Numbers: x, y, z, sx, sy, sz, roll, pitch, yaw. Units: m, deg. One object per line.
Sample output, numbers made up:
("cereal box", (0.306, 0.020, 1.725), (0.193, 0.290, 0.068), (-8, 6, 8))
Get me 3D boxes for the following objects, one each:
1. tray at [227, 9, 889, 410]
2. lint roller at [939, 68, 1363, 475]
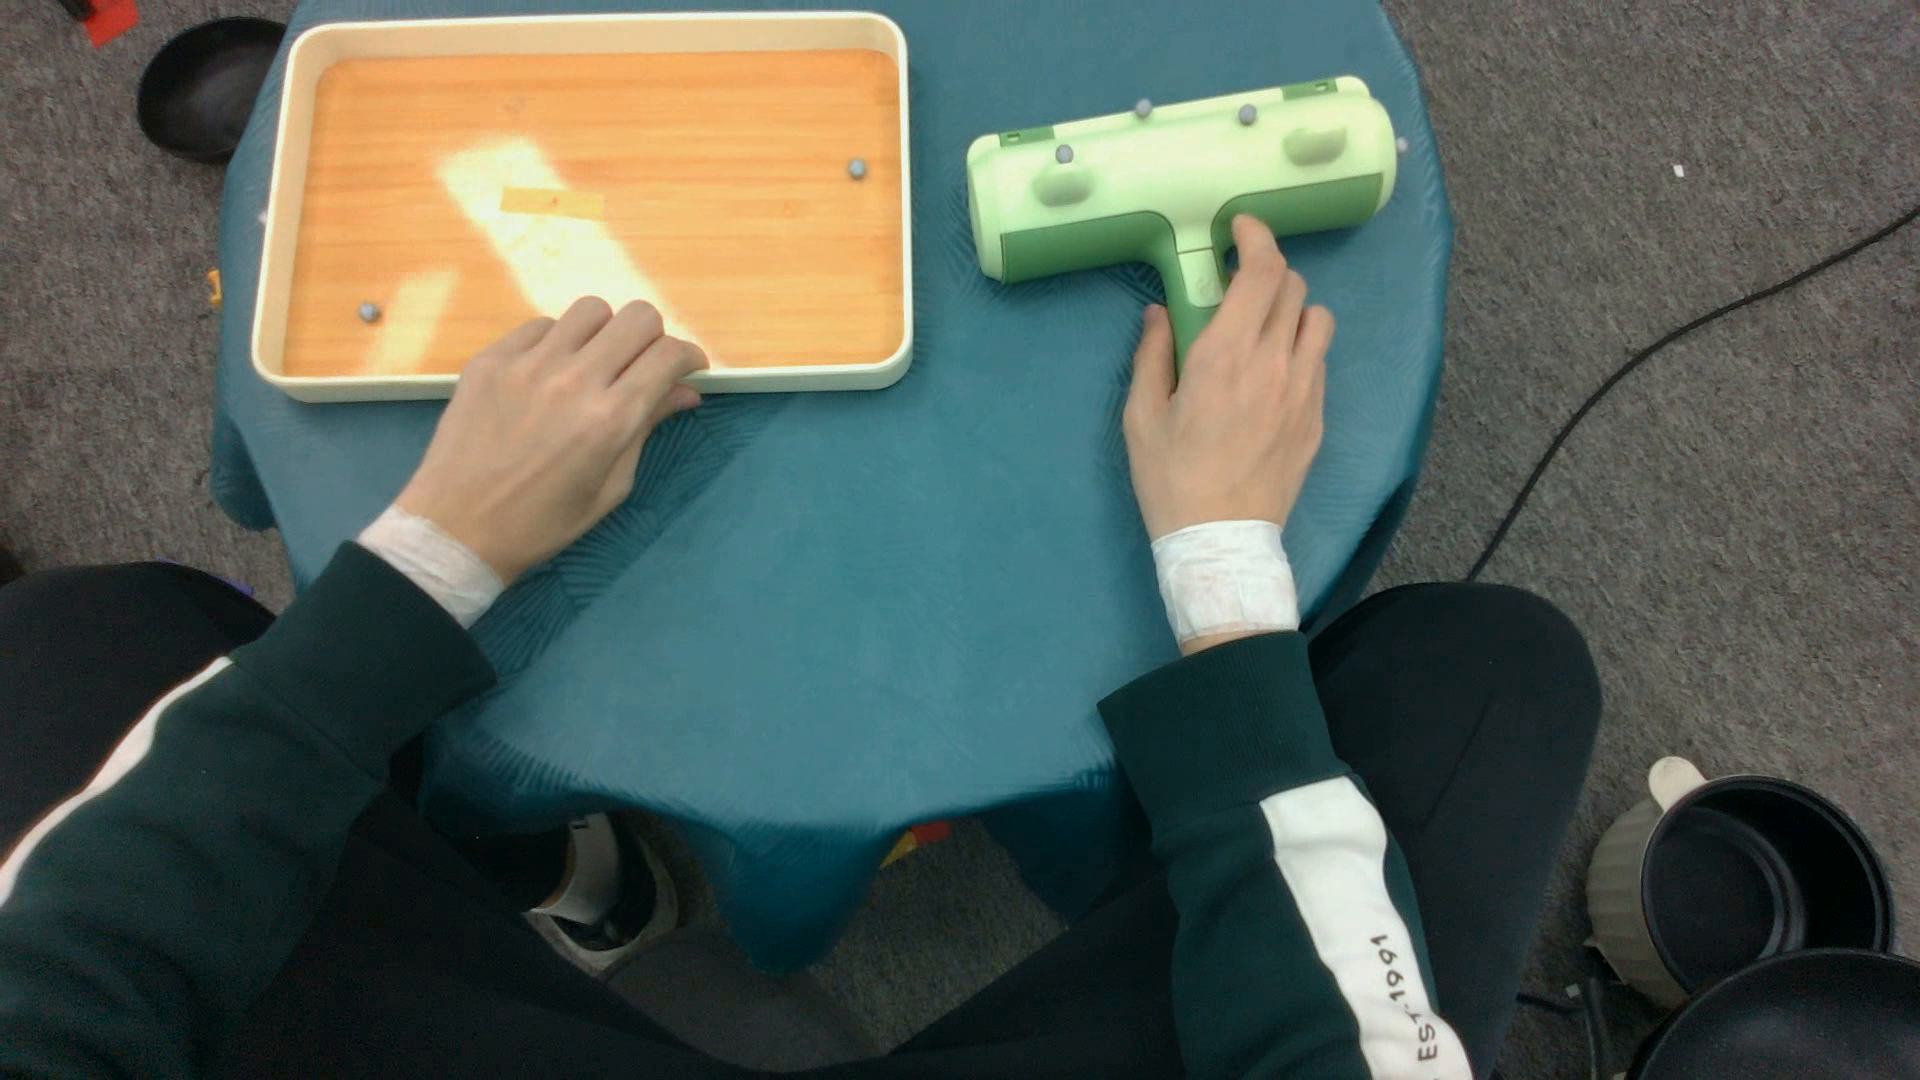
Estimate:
("tray", (-0.187, -0.160, 0.659), (0.300, 0.027, 0.192), (-3, 74, -2))
("lint roller", (0.101, -0.126, 0.631), (0.199, 0.082, 0.184), (-10, 71, -4))
